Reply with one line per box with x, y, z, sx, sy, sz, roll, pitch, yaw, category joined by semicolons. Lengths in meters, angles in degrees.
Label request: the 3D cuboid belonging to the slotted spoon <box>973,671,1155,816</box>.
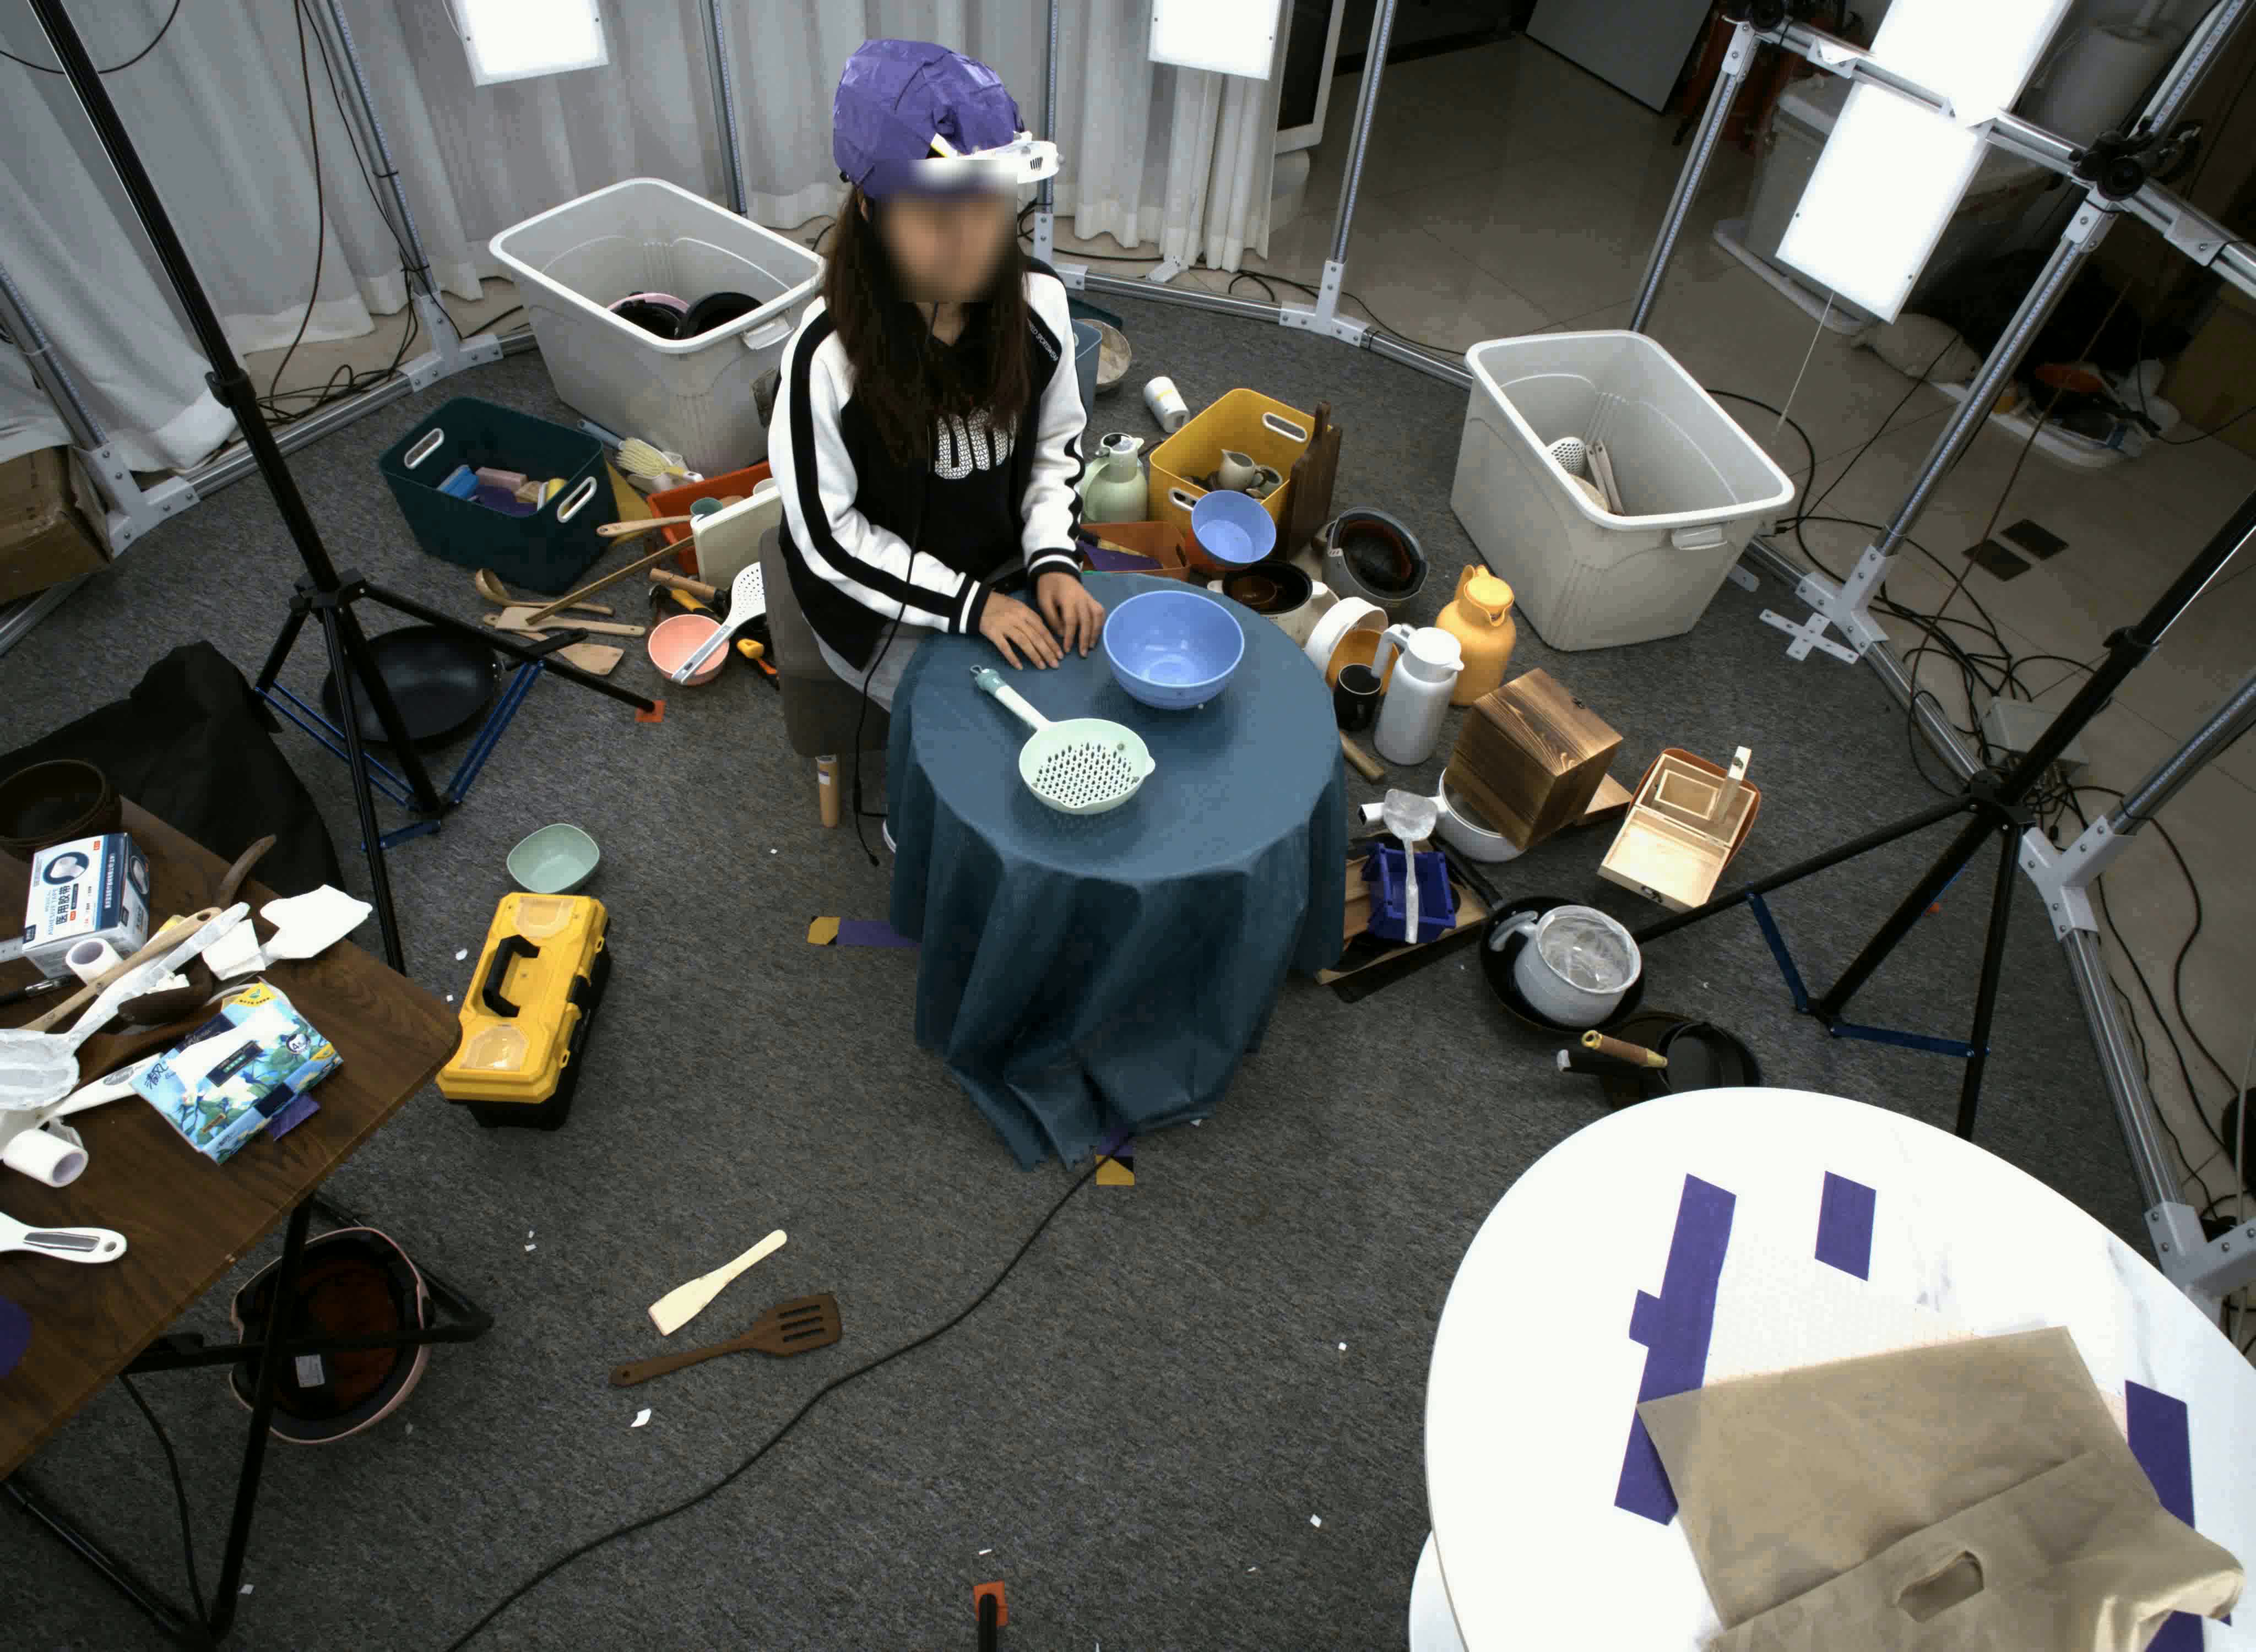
-0.114;-0.129;1.736;0.170;0.073;0.366;-26;54;-25;slotted spoon

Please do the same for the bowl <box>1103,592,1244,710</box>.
0.061;-0.232;1.815;0.196;0.093;0.201;1;49;-2;bowl
